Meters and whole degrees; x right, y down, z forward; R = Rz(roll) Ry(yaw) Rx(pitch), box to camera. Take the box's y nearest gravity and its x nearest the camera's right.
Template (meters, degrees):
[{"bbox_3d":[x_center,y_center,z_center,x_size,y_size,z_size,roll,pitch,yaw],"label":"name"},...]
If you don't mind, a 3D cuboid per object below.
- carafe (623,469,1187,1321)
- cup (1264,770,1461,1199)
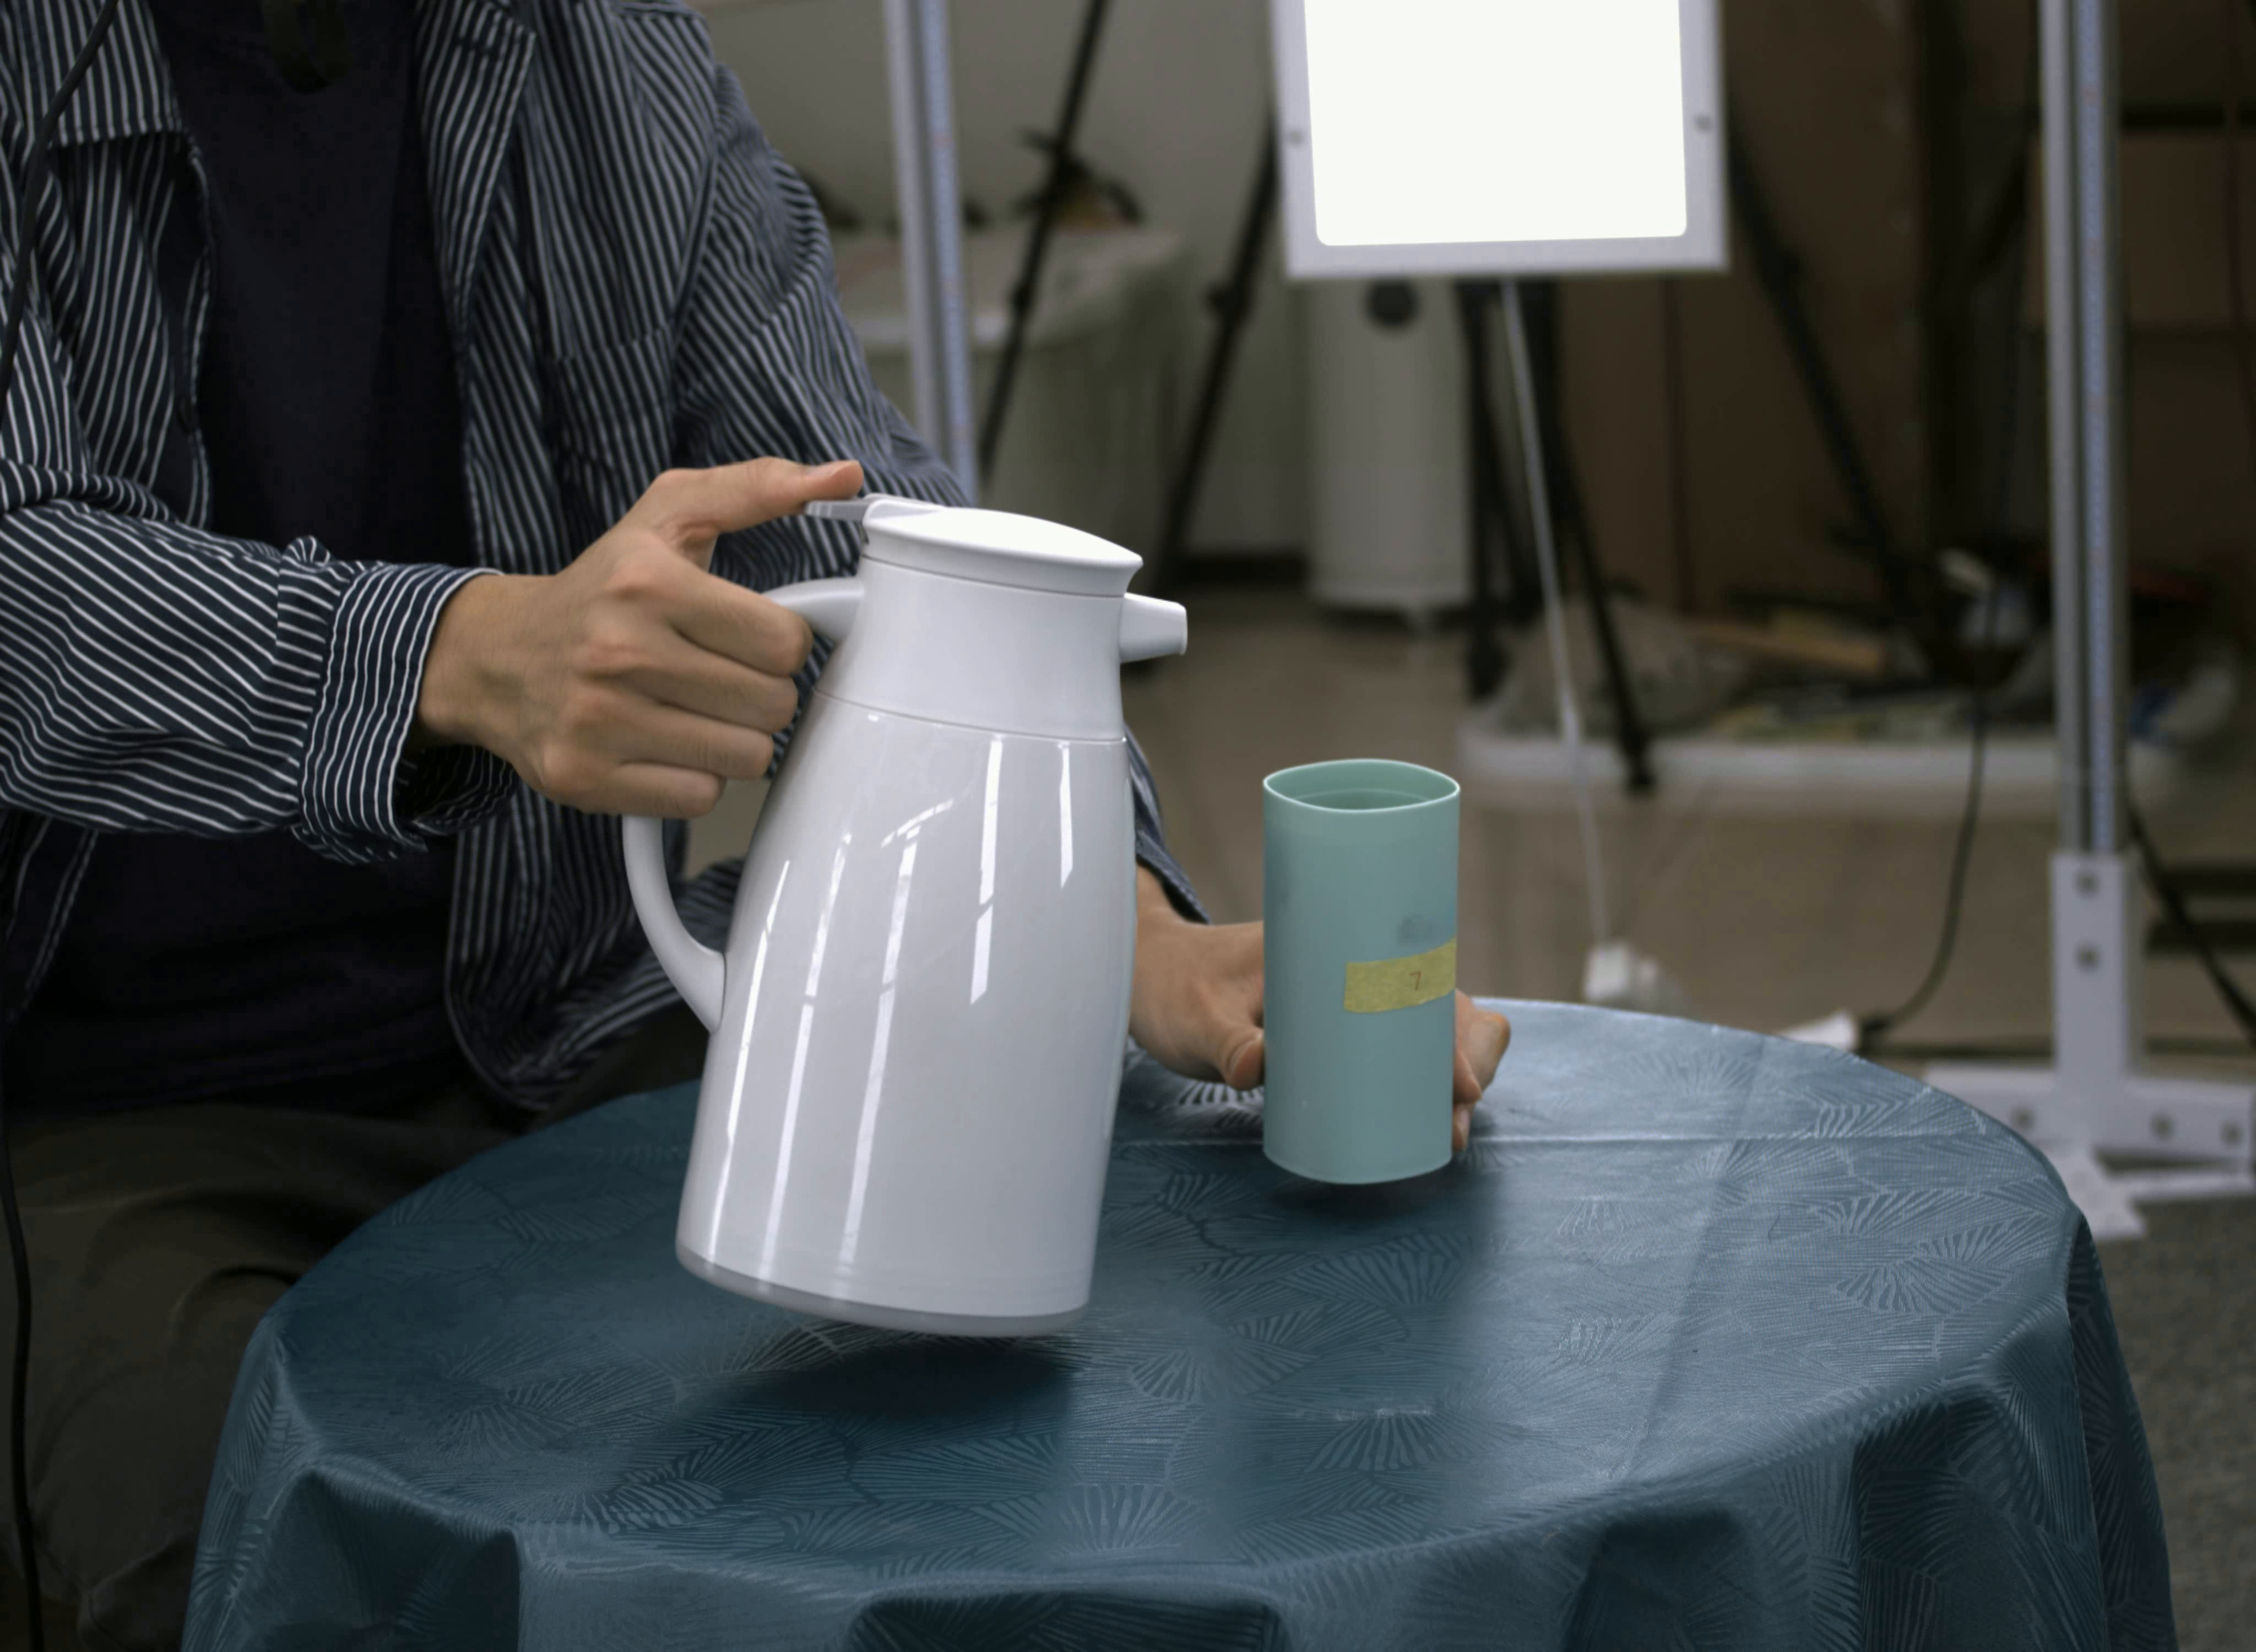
[{"bbox_3d":[-0.076,0.016,1.713,0.166,0.250,0.133,7,8,-11],"label":"carafe"},{"bbox_3d":[0.078,0.052,1.843,0.066,0.133,0.066,-1,15,-1],"label":"cup"}]
